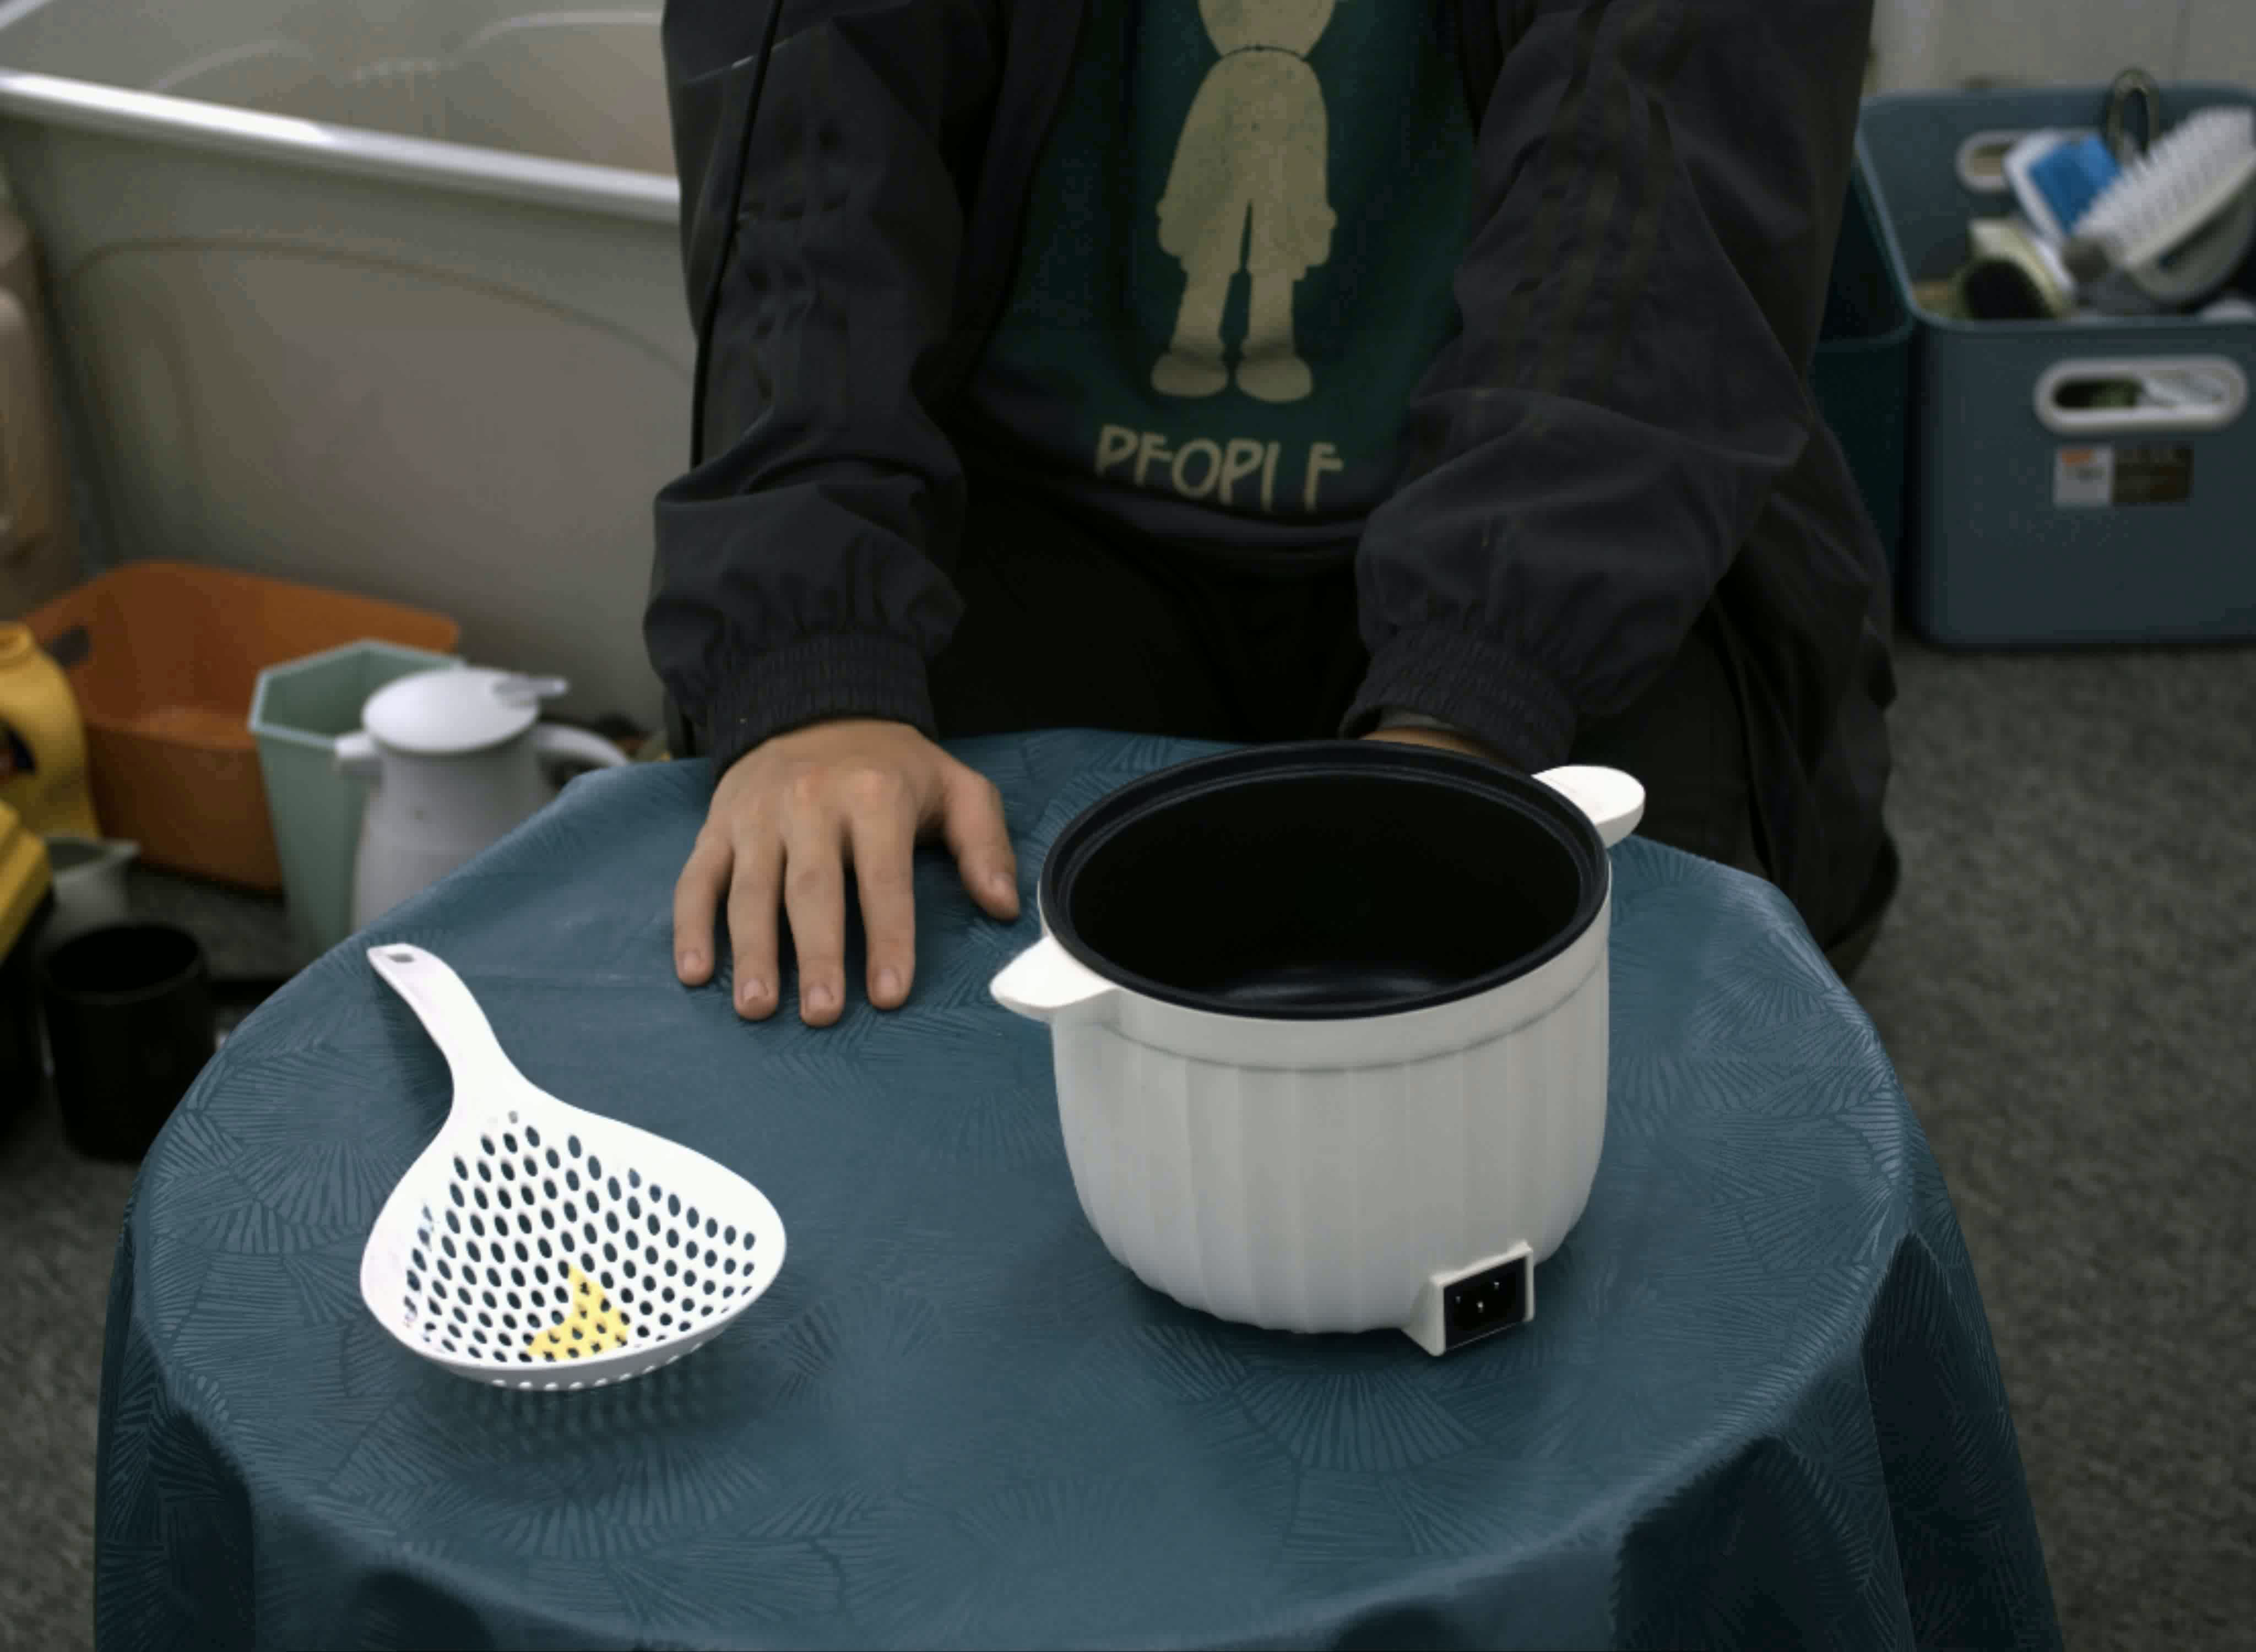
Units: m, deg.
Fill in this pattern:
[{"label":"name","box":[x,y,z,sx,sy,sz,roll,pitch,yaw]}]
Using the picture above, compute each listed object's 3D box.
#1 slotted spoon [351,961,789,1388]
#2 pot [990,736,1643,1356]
[{"label":"slotted spoon","box":[-0.210,0.103,1.868,0.137,0.050,0.351,-13,29,-15]},{"label":"pot","box":[0.060,0.070,1.803,0.242,0.141,0.191,-17,32,-28]}]
